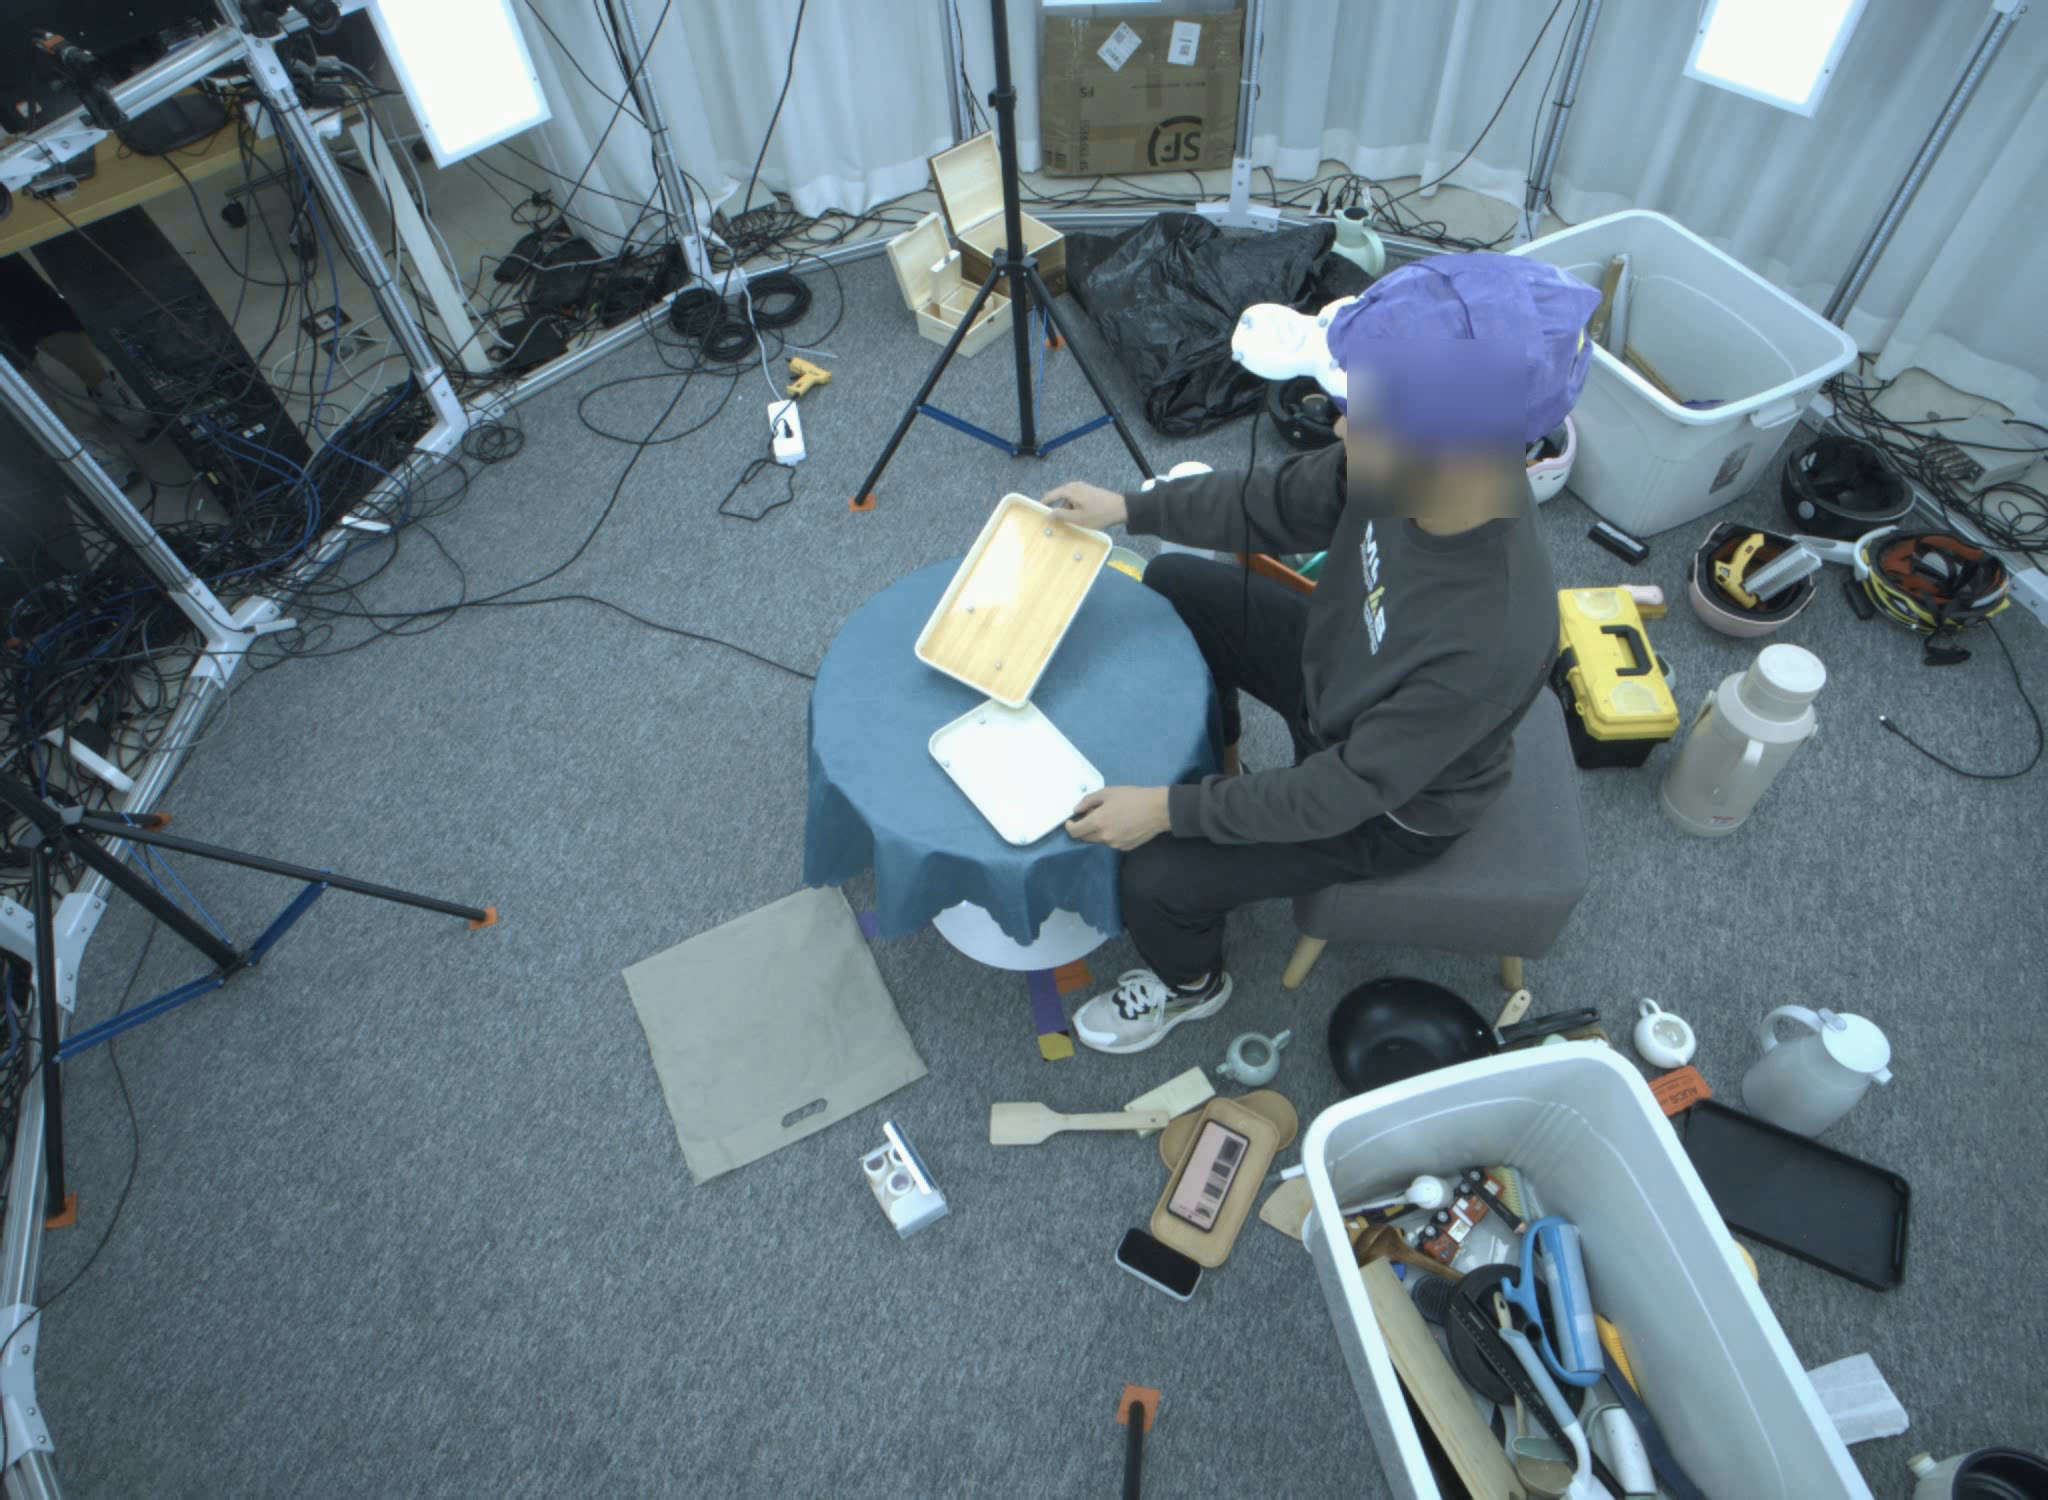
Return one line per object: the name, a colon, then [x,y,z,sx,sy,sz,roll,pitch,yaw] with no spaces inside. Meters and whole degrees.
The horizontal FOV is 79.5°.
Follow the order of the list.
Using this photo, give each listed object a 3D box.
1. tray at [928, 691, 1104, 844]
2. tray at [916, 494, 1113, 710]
tray: [-0.013,0.023,1.759,0.173,0.017,0.235,-32,60,-20]
tray: [-0.014,-0.225,1.840,0.190,0.027,0.300,27,81,11]
